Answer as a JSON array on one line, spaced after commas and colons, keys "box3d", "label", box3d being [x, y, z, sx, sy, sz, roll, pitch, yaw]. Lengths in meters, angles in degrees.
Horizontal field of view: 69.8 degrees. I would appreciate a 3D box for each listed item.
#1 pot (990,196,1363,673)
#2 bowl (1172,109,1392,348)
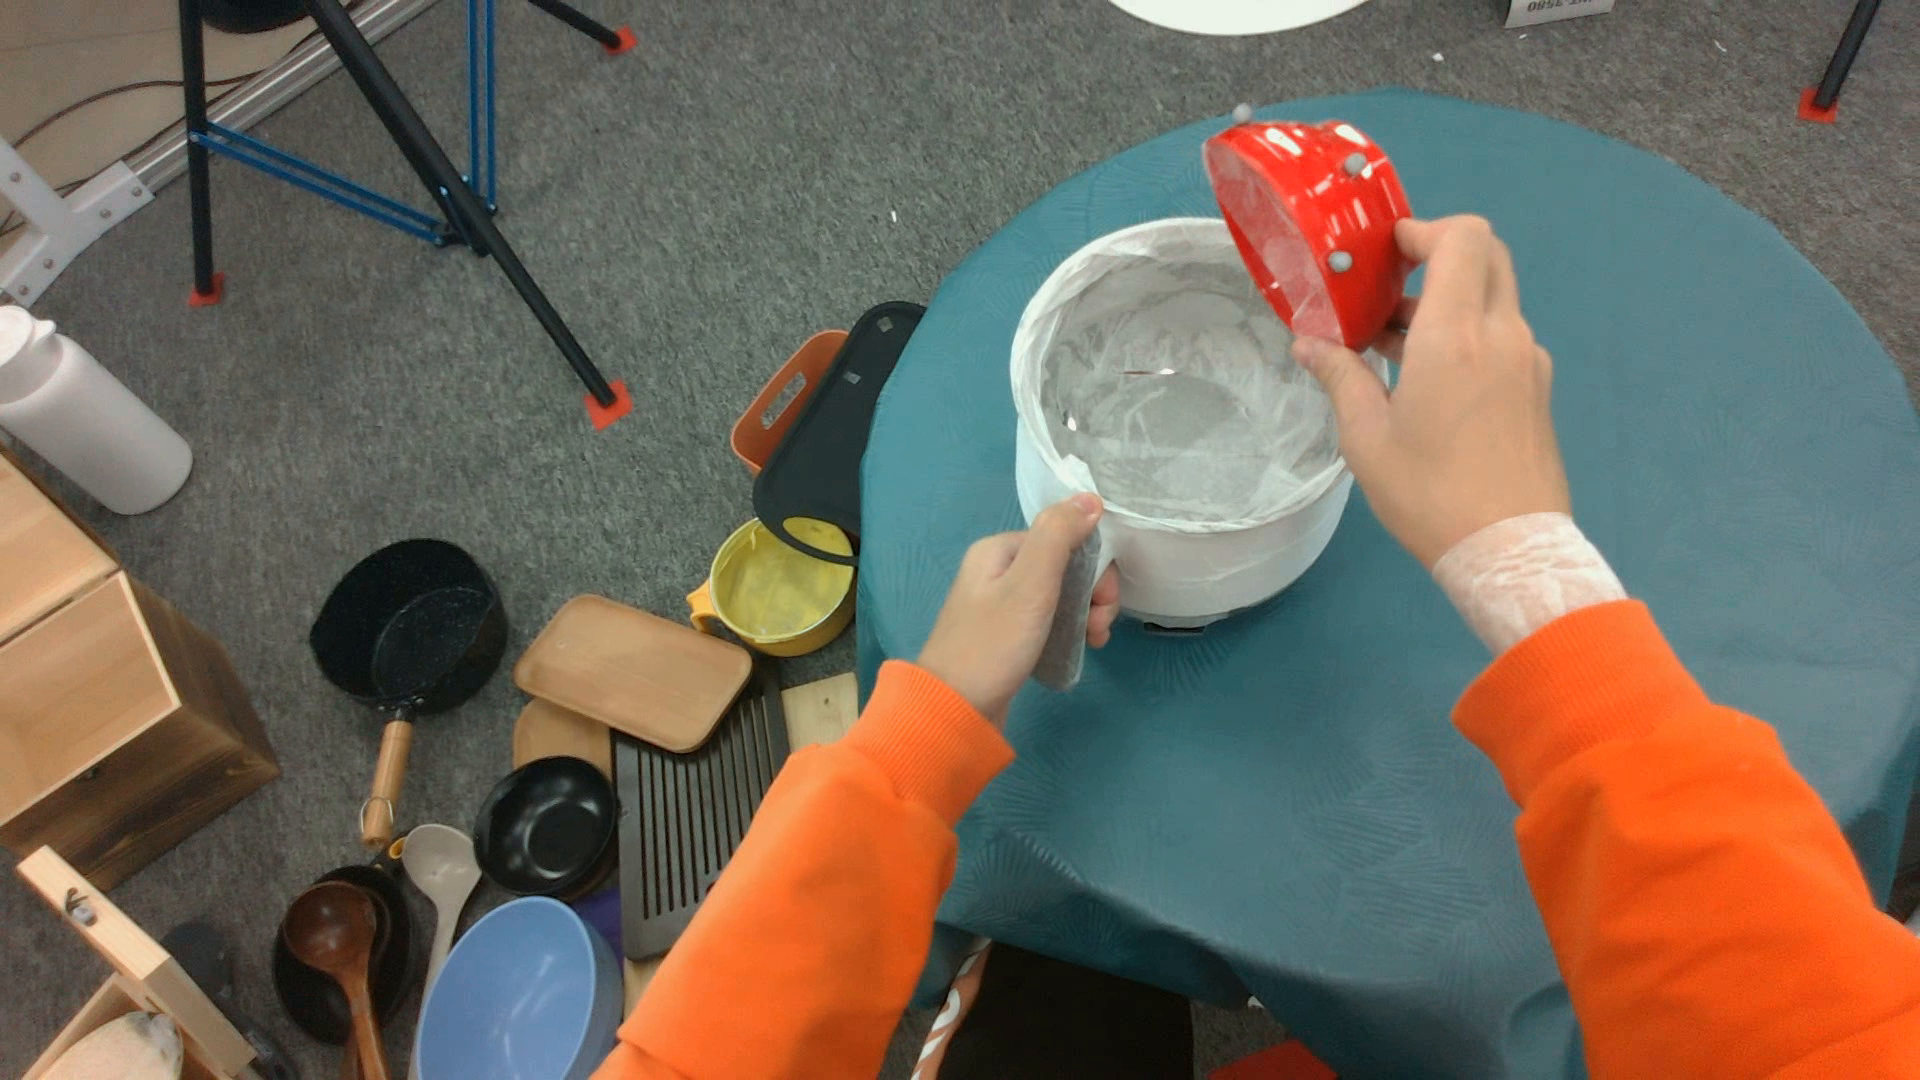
[{"box3d": [0.092, -0.044, 0.702, 0.178, 0.136, 0.234, 27, 69, 16], "label": "pot"}, {"box3d": [0.149, -0.147, 0.613, 0.051, 0.118, 0.119, -33, 59, 1], "label": "bowl"}]
